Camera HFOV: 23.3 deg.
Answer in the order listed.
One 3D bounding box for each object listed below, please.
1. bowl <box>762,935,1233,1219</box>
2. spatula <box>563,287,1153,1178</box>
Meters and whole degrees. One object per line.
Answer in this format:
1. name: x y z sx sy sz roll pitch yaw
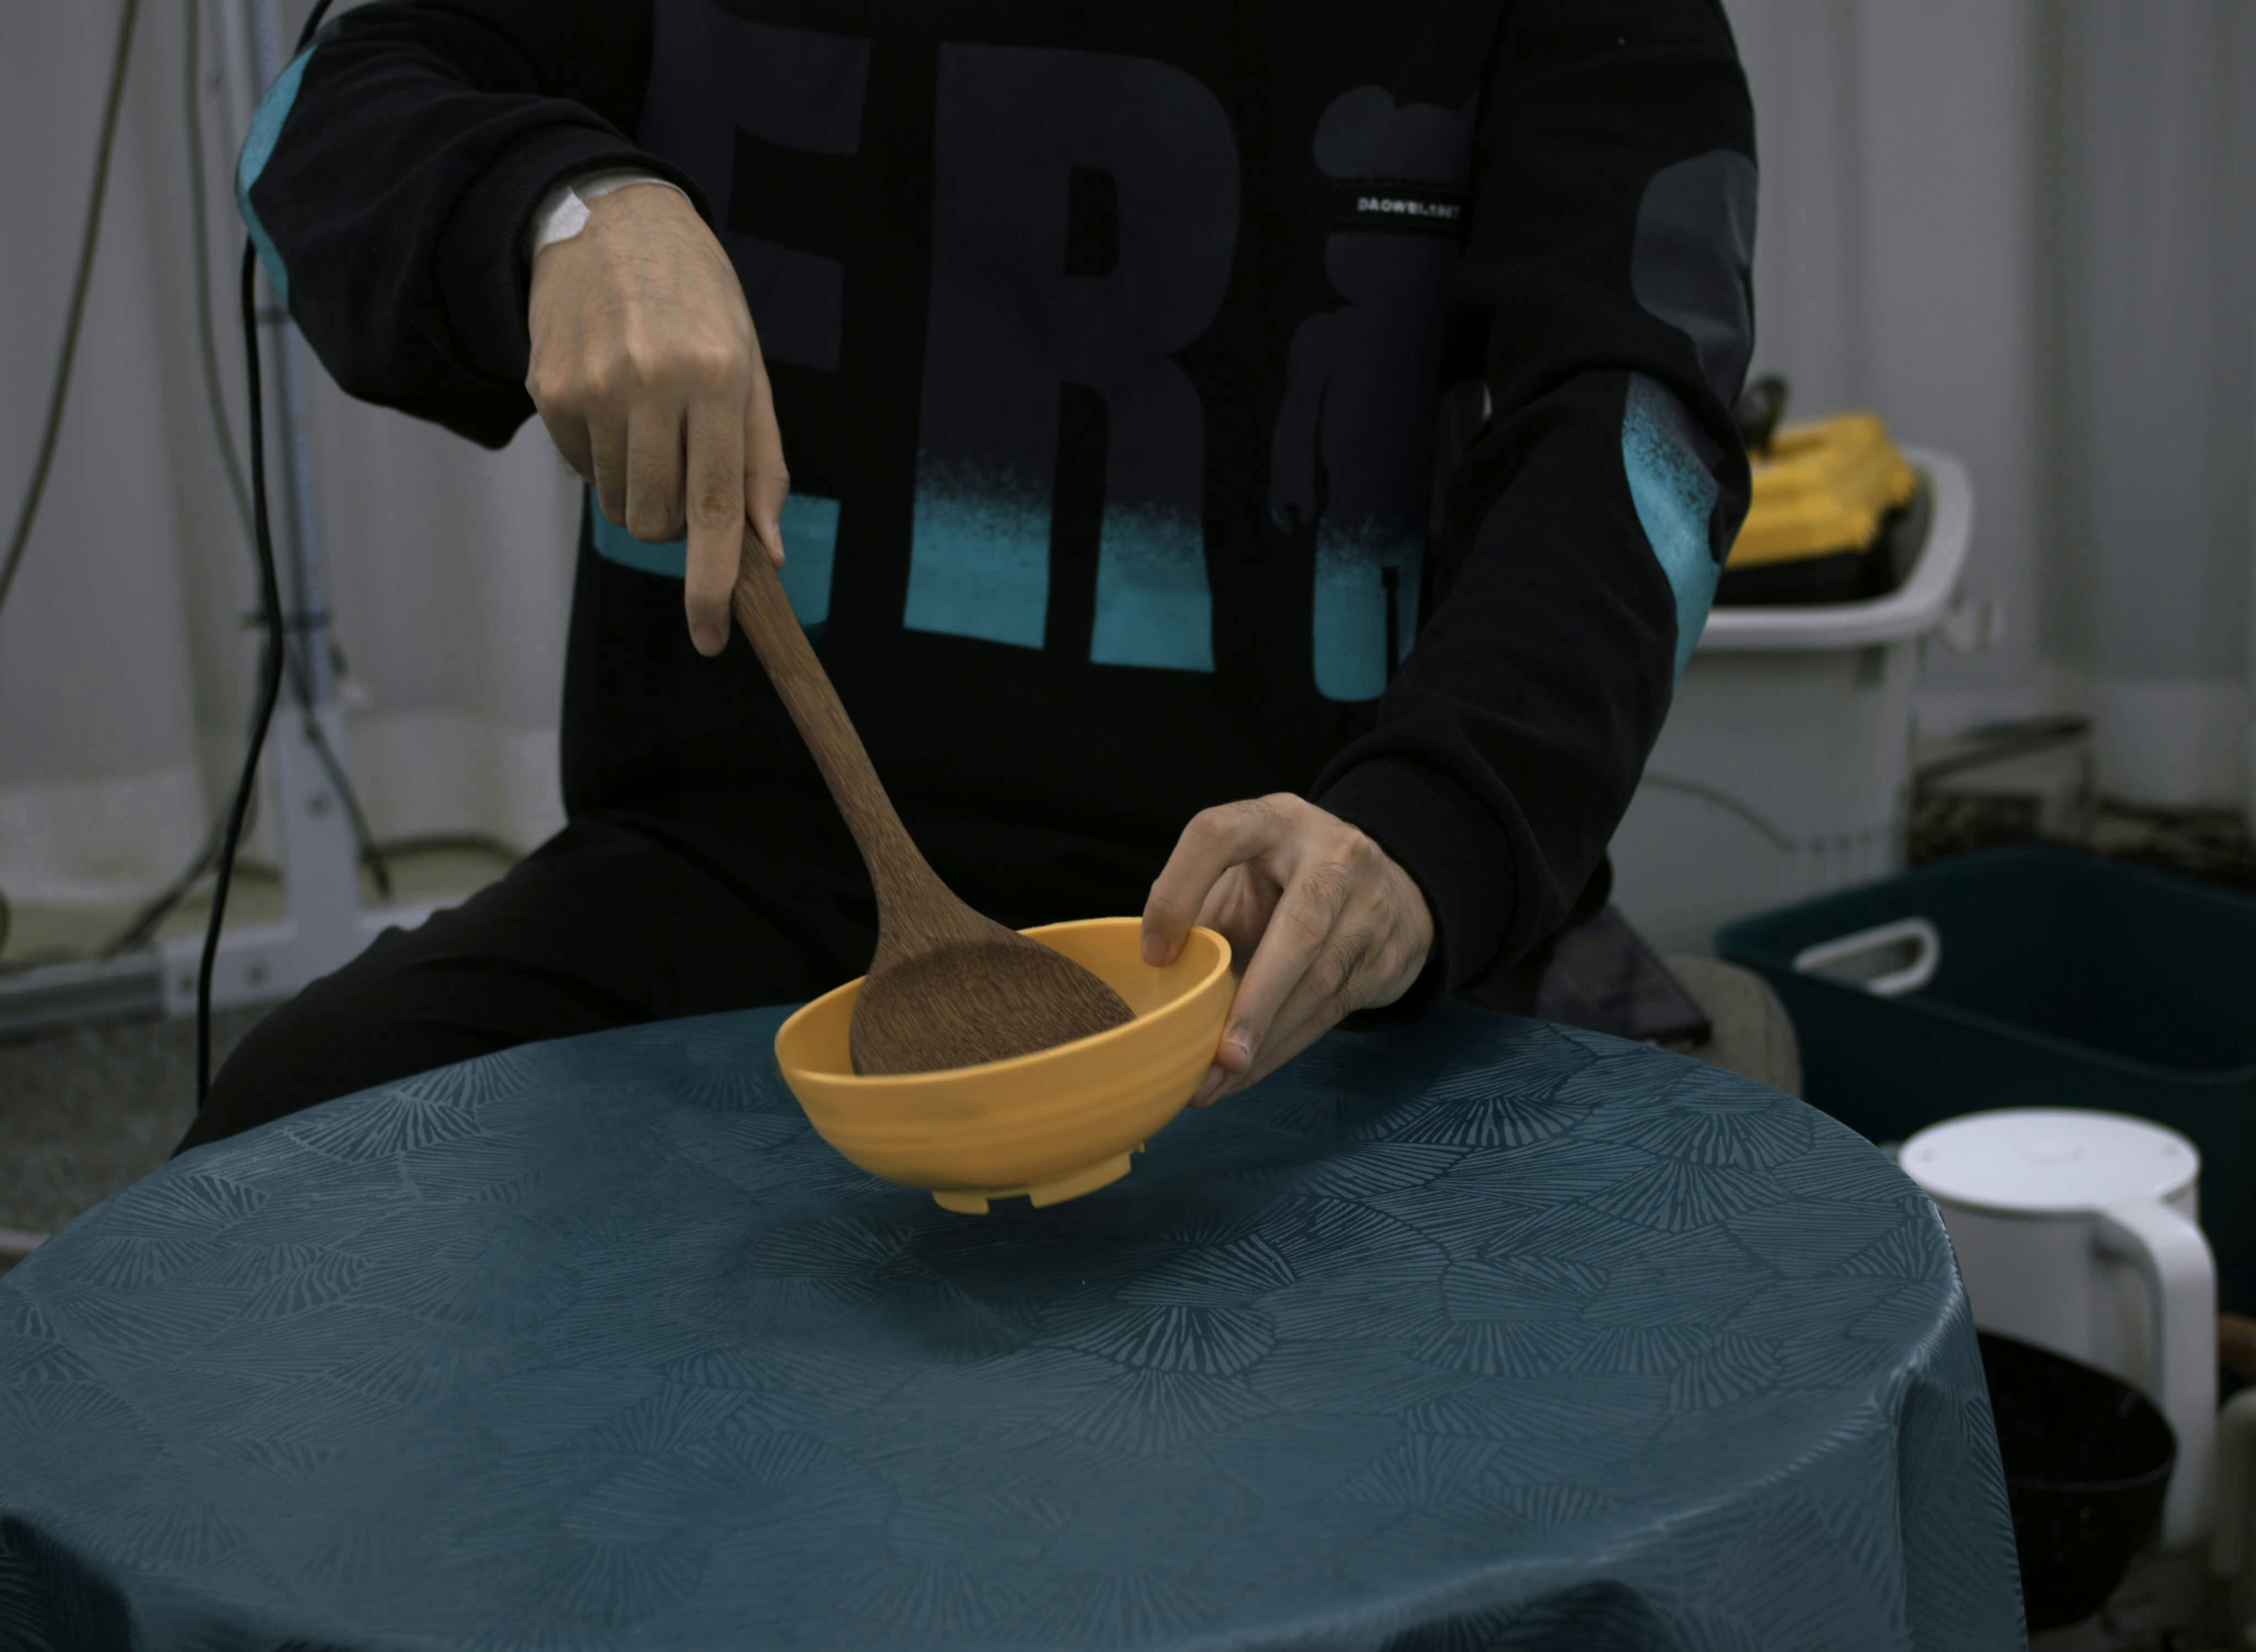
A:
1. bowl: -0.036 0.081 1.667 0.145 0.060 0.146 -9 12 1
2. spatula: -0.101 -0.040 1.743 0.096 0.015 0.391 -12 54 -25
